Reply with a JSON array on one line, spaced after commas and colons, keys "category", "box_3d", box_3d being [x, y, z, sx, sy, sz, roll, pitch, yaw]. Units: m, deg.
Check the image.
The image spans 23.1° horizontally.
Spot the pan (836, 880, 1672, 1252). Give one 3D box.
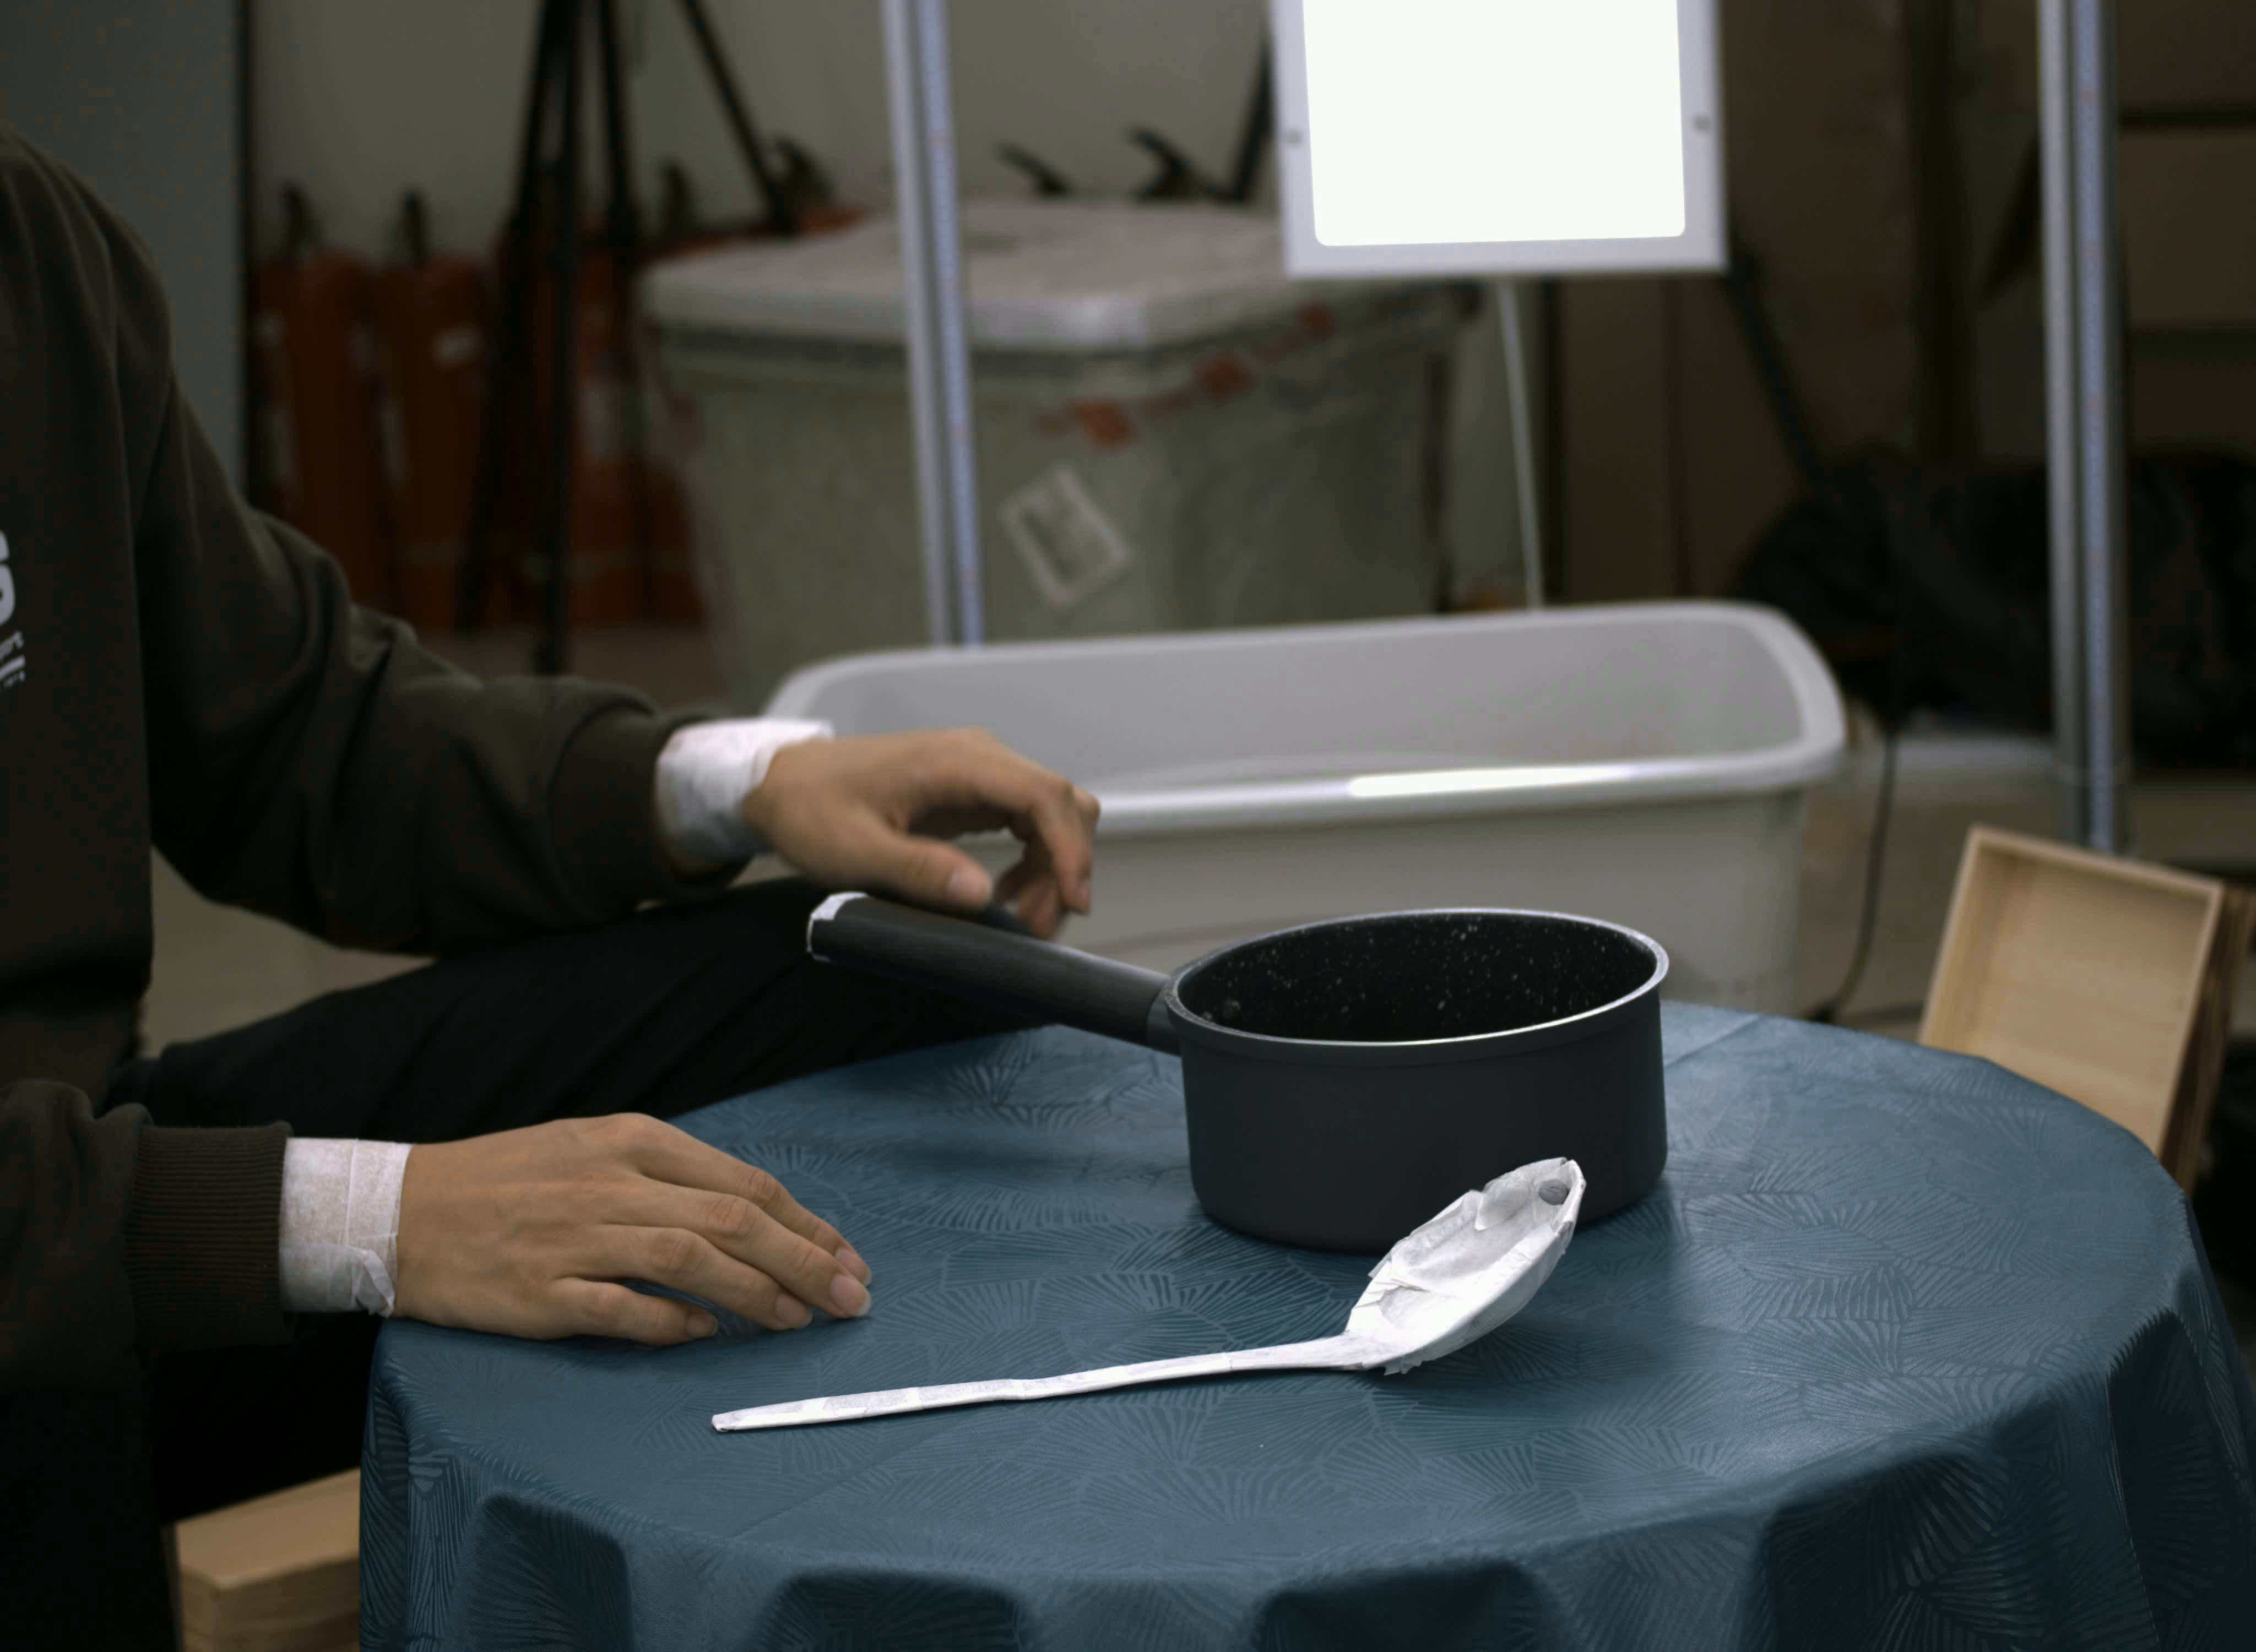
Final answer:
[{"category": "pan", "box_3d": [0.036, 0.077, 1.918, 0.335, 0.087, 0.168, 6, 16, 35]}]

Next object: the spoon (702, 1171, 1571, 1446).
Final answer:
[{"category": "spoon", "box_3d": [0.003, 0.150, 1.715, 0.277, 0.059, 0.100, -6, 3, 1]}]
